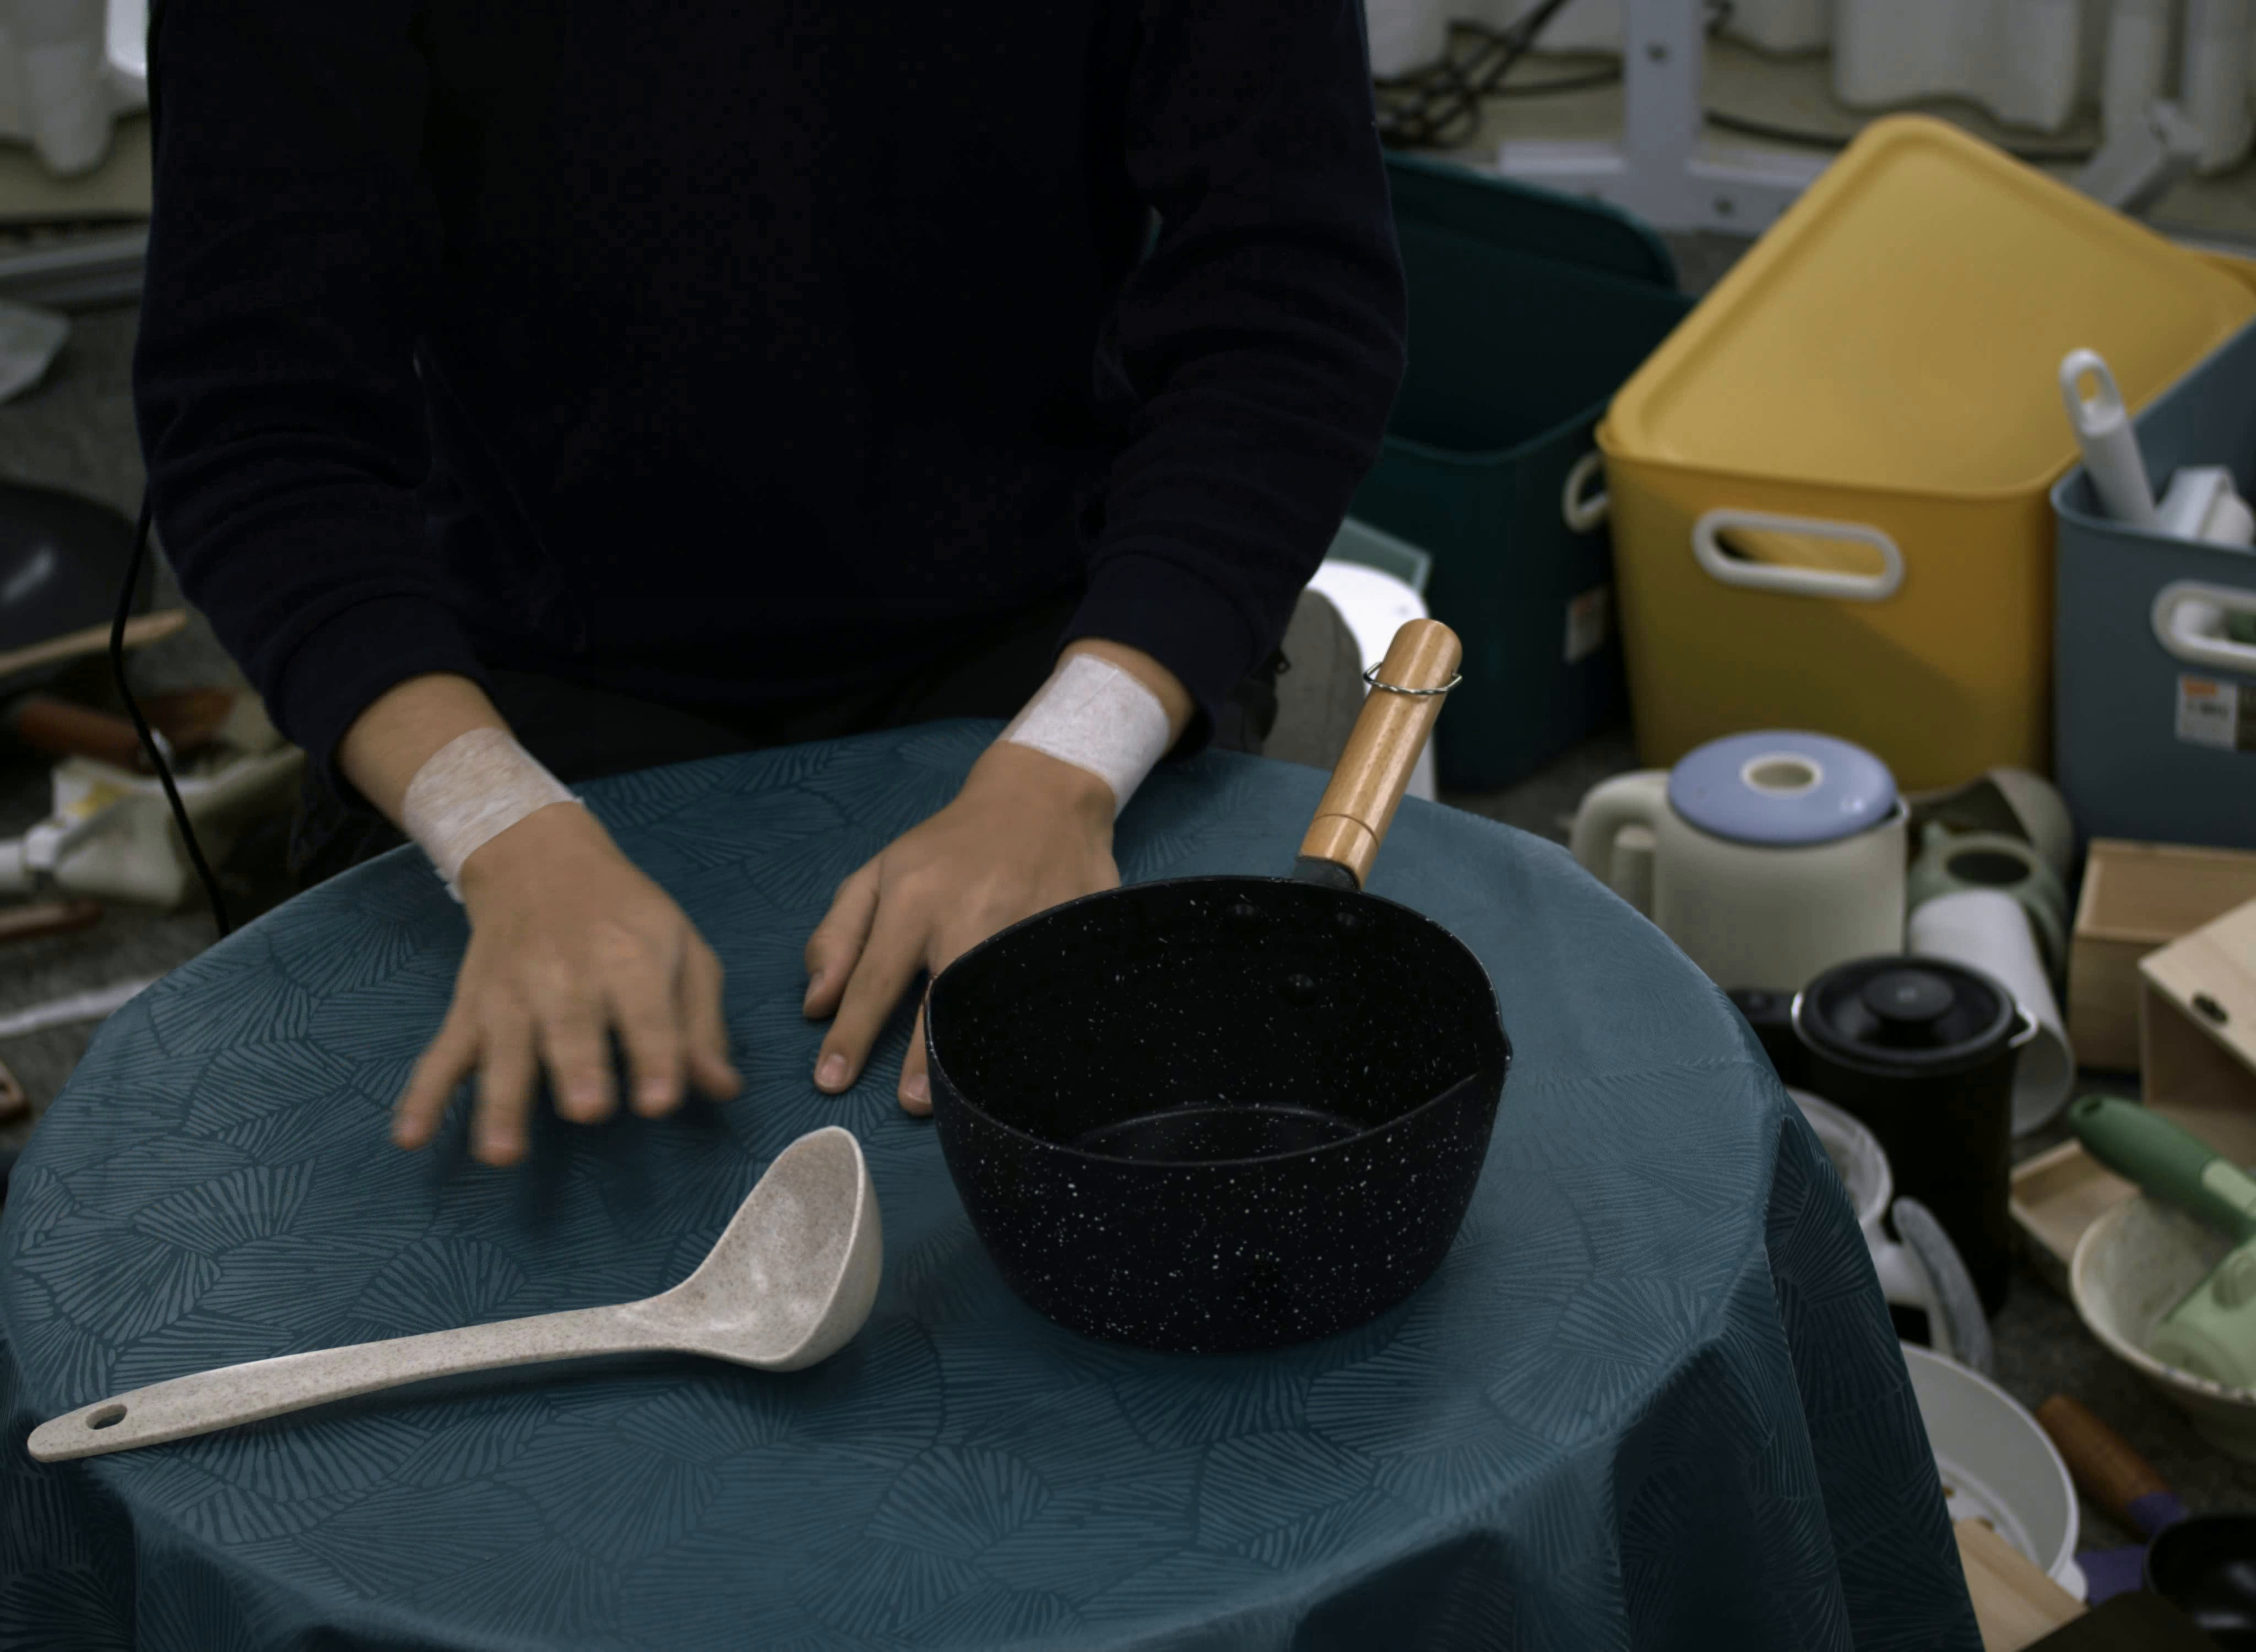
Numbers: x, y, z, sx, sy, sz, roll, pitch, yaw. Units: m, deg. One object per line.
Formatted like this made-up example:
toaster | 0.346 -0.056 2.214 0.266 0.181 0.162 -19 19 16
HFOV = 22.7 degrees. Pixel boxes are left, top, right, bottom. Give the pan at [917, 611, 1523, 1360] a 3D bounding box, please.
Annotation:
pan | 0.053 0.049 1.880 0.206 0.107 0.349 5 30 18

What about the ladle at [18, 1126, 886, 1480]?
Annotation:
ladle | -0.211 0.152 1.756 0.274 0.068 0.091 -9 39 -9
